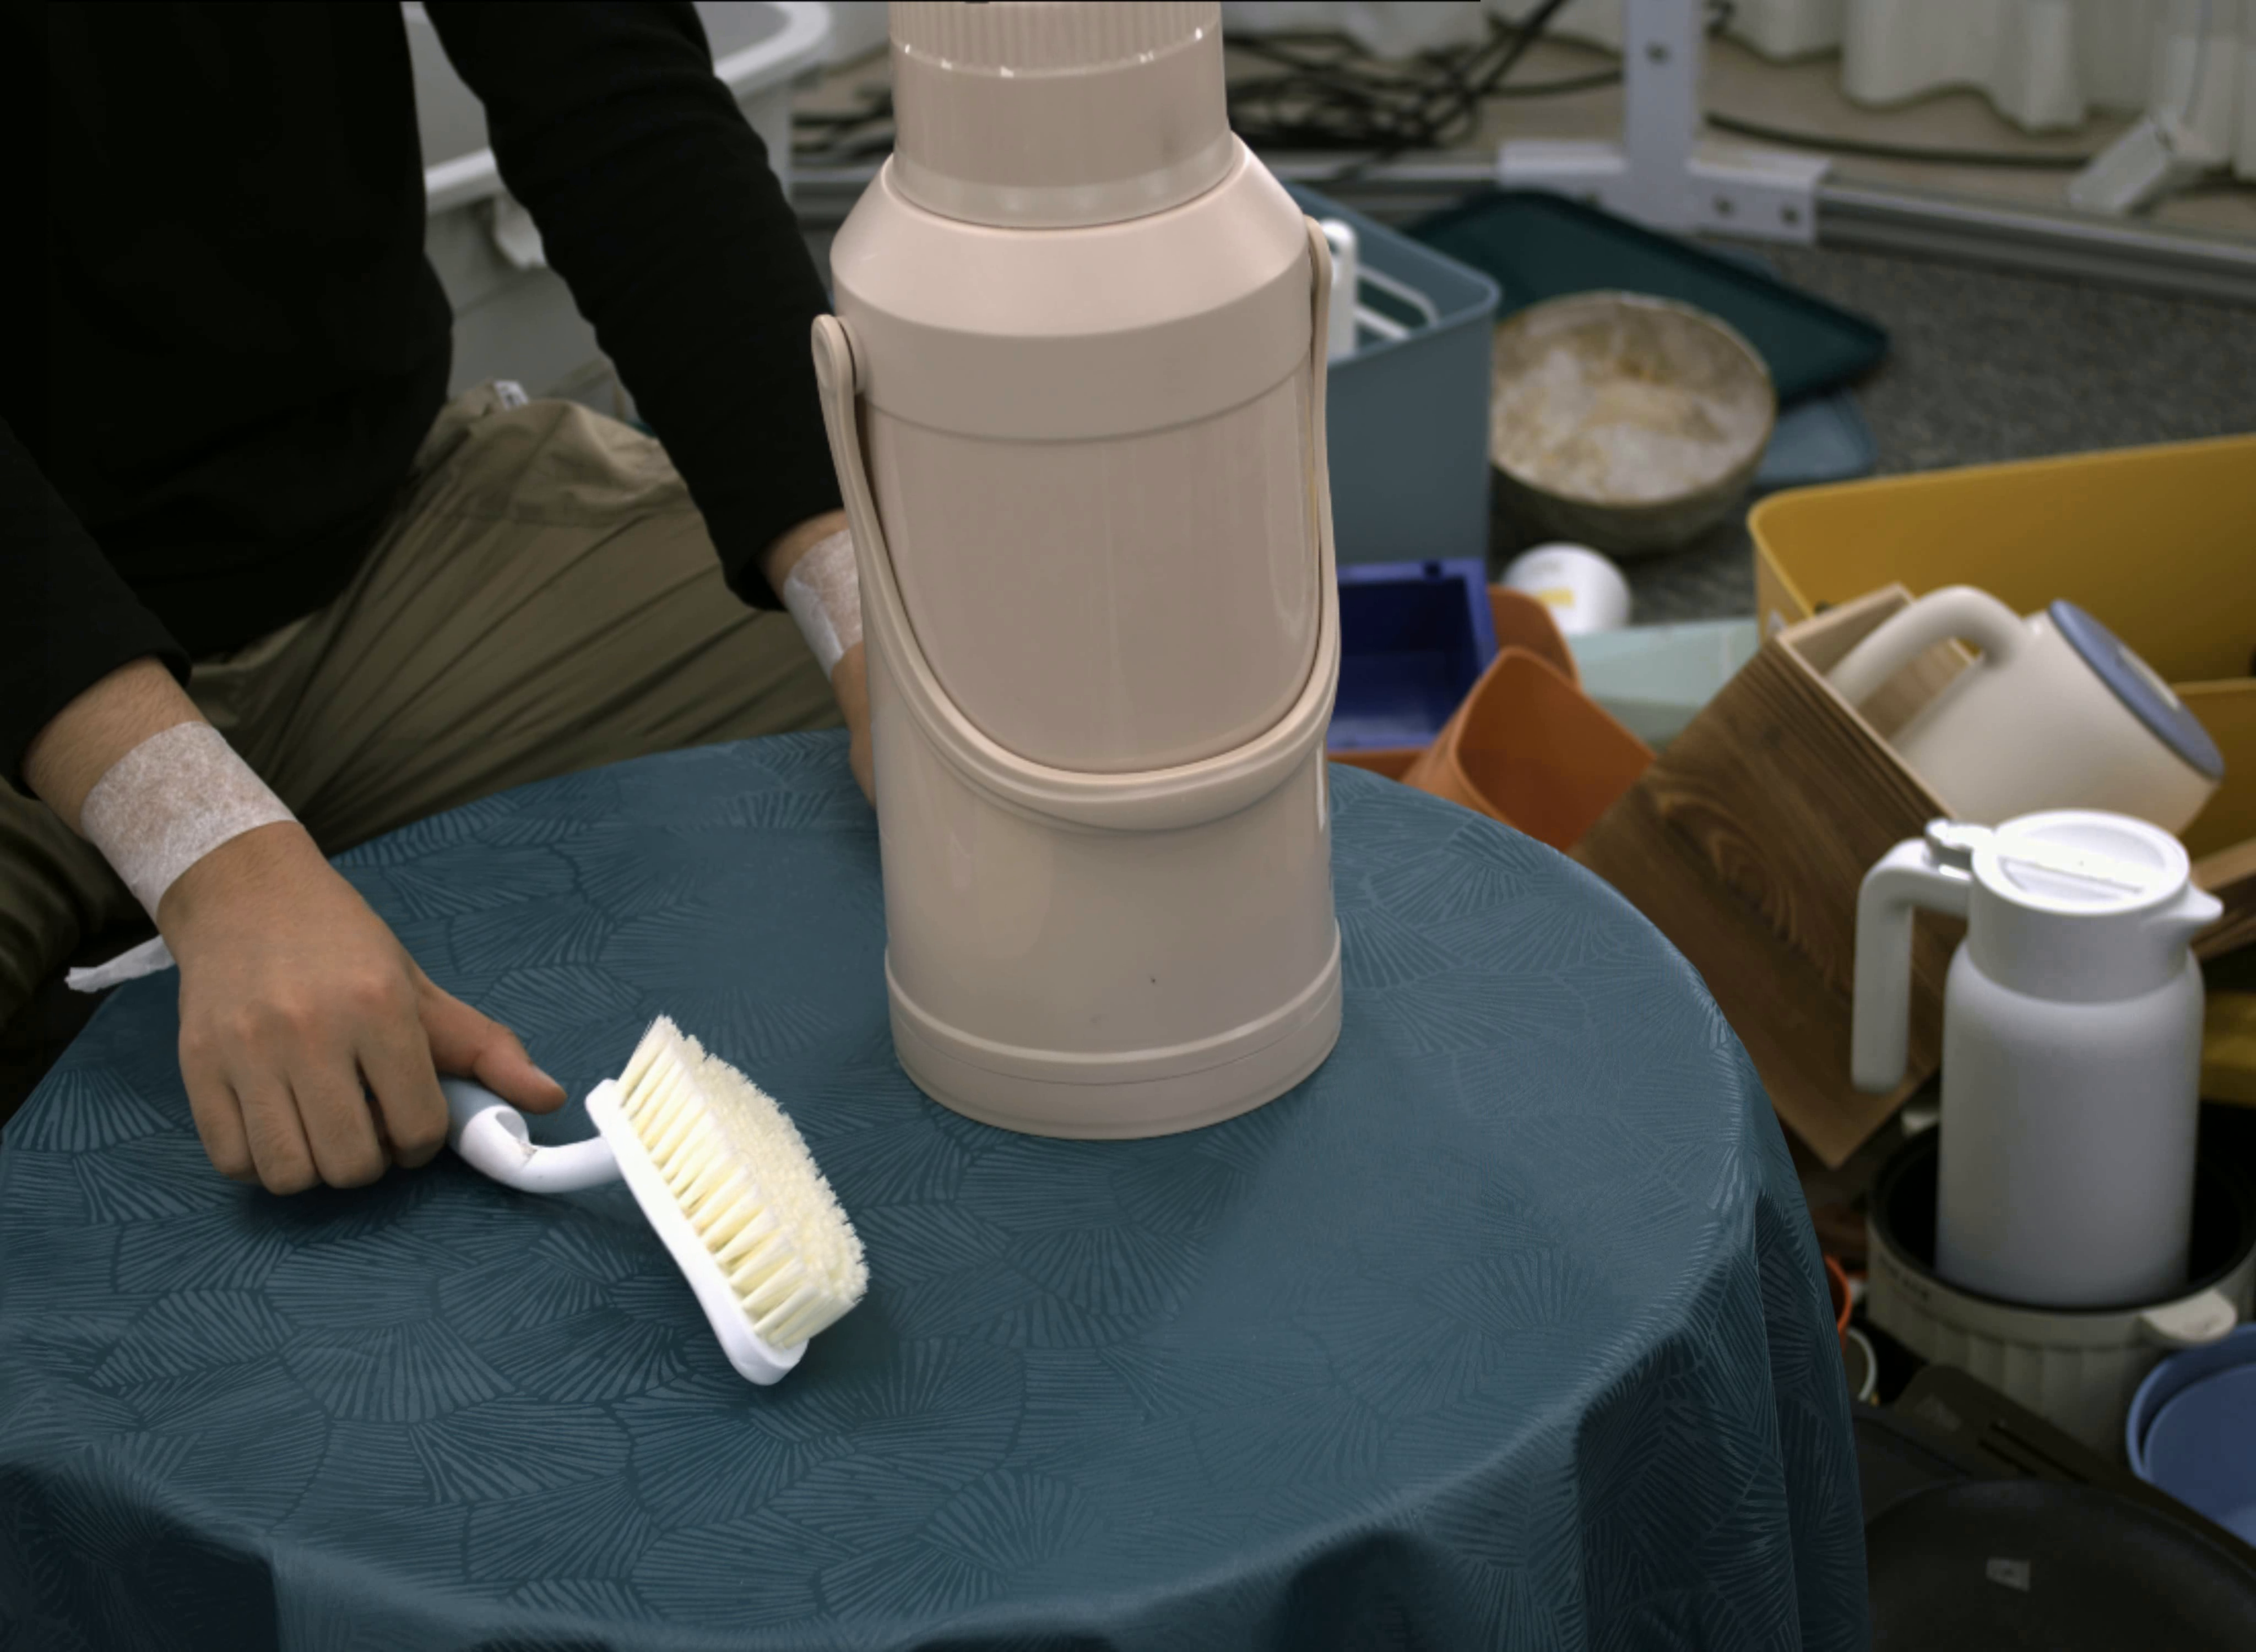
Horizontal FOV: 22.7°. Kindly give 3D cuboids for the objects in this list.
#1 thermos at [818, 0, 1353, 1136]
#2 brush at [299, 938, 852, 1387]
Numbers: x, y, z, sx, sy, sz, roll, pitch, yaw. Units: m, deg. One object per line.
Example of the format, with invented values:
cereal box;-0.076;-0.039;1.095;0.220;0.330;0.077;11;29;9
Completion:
thermos;-0.016;-0.113;1.889;0.176;0.402;0.208;-15;29;-19
brush;-0.183;0.082;1.872;0.085;0.082;0.326;-20;32;-26
